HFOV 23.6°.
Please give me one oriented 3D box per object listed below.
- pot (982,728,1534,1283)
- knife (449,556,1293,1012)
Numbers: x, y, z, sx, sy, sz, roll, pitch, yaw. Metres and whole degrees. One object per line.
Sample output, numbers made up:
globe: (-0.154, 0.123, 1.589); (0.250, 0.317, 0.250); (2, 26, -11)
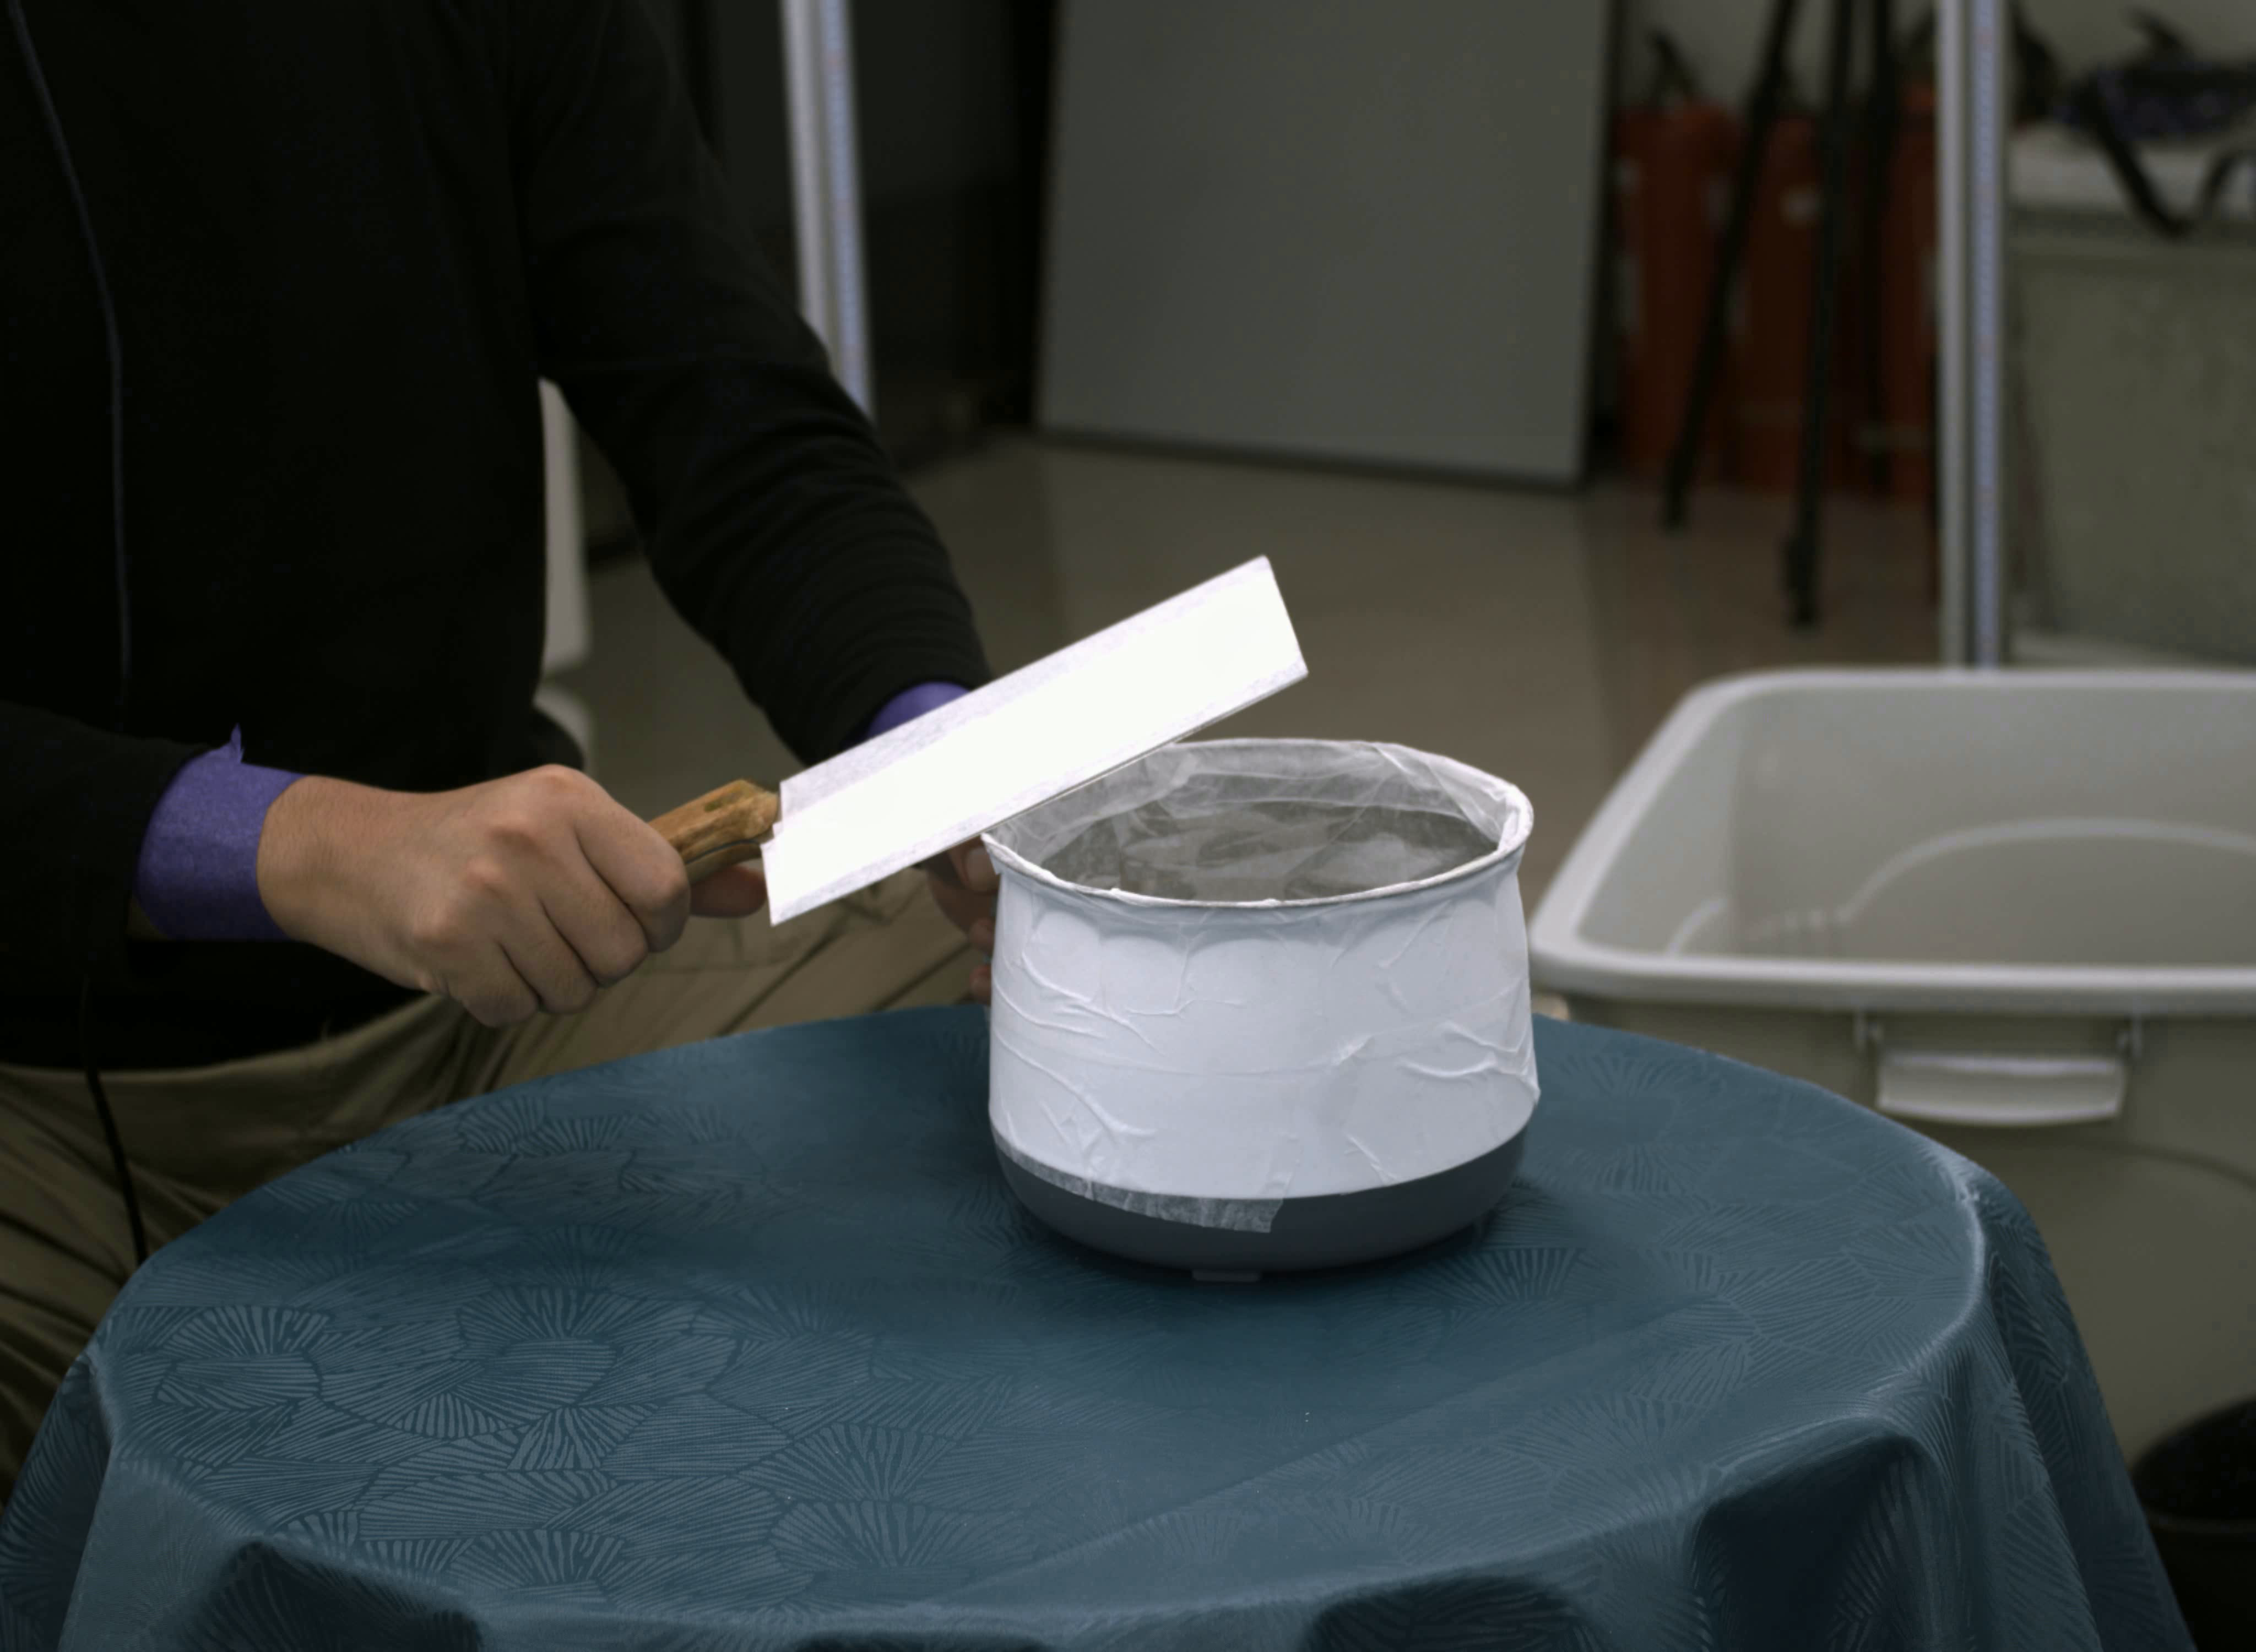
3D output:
pot: (0.026, 0.049, 1.744); (0.175, 0.138, 0.236); (-12, 20, -33)
knife: (-0.085, -0.005, 1.749); (0.304, 0.021, 0.093); (-26, 26, 7)
